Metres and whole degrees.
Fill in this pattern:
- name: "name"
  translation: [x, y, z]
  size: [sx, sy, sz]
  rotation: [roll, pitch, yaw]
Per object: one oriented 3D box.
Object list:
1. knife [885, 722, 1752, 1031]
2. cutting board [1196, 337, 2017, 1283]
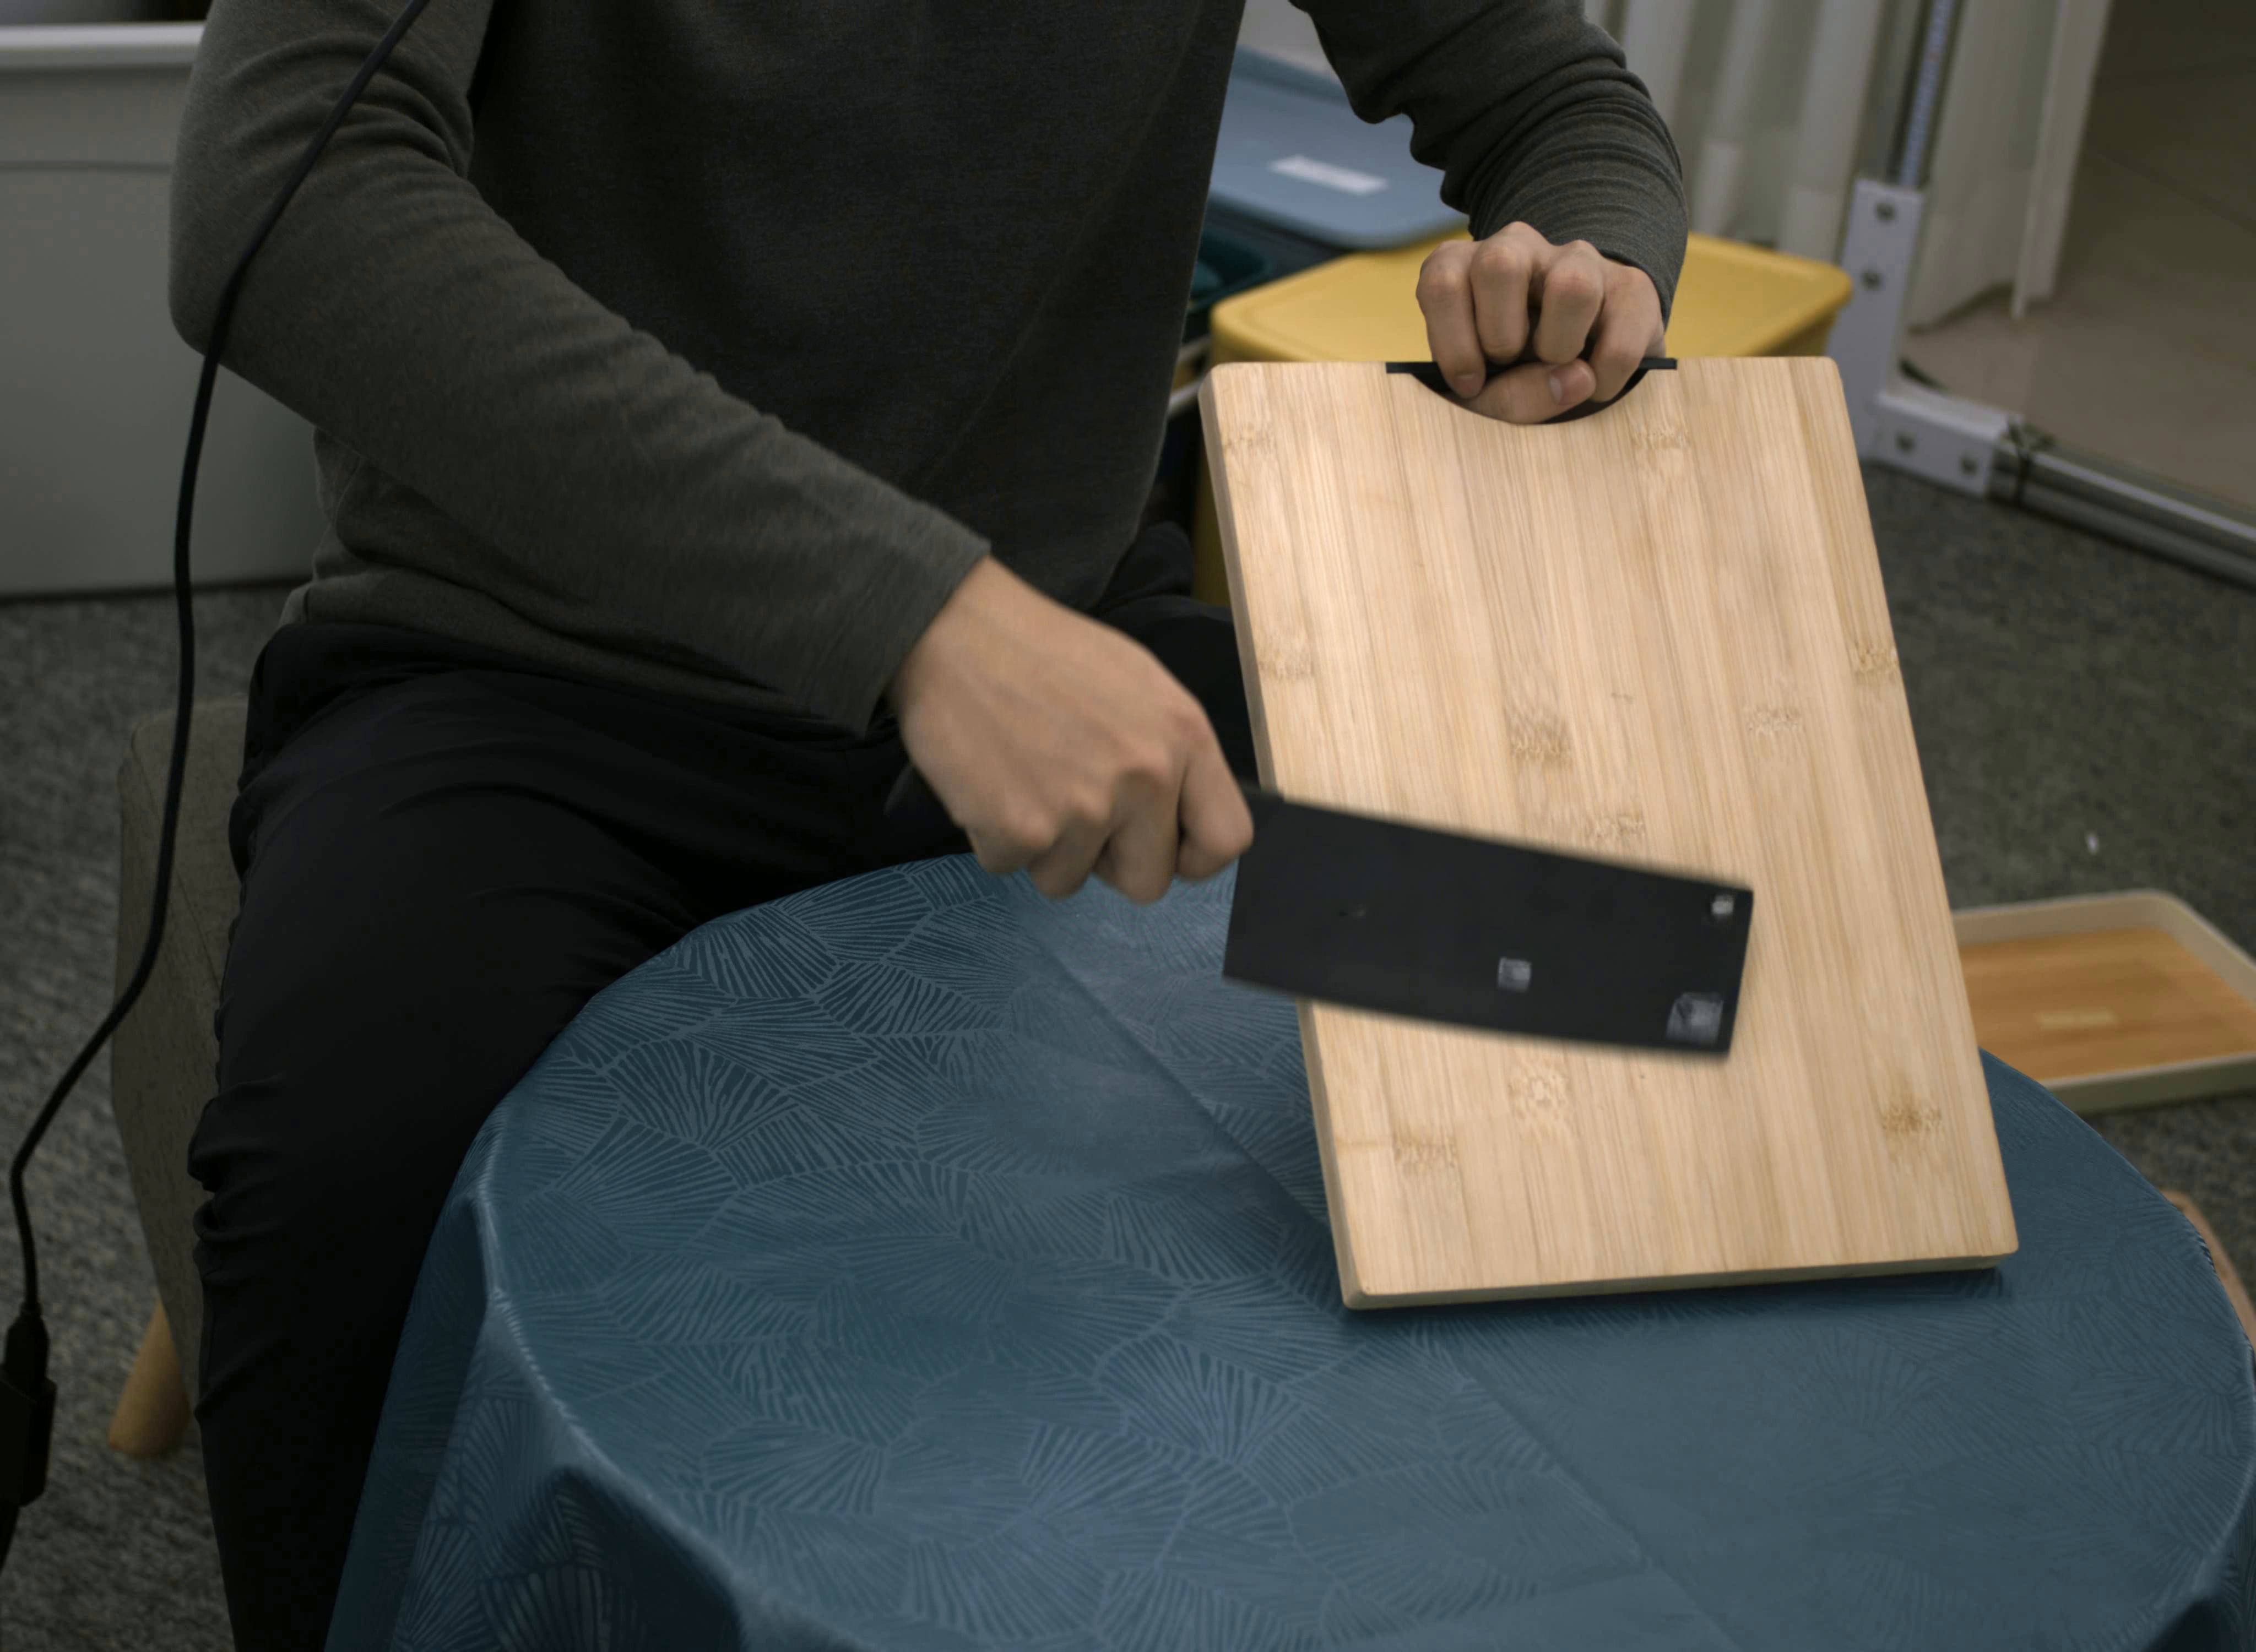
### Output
- name: "knife"
  translation: [0.066, 0.015, 1.778]
  size: [0.301, 0.081, 0.021]
  rotation: [14, -8, -11]
- name: "cutting board"
  translation: [0.162, -0.010, 1.841]
  size: [0.249, 0.023, 0.351]
  rotation: [-3, 68, -17]
